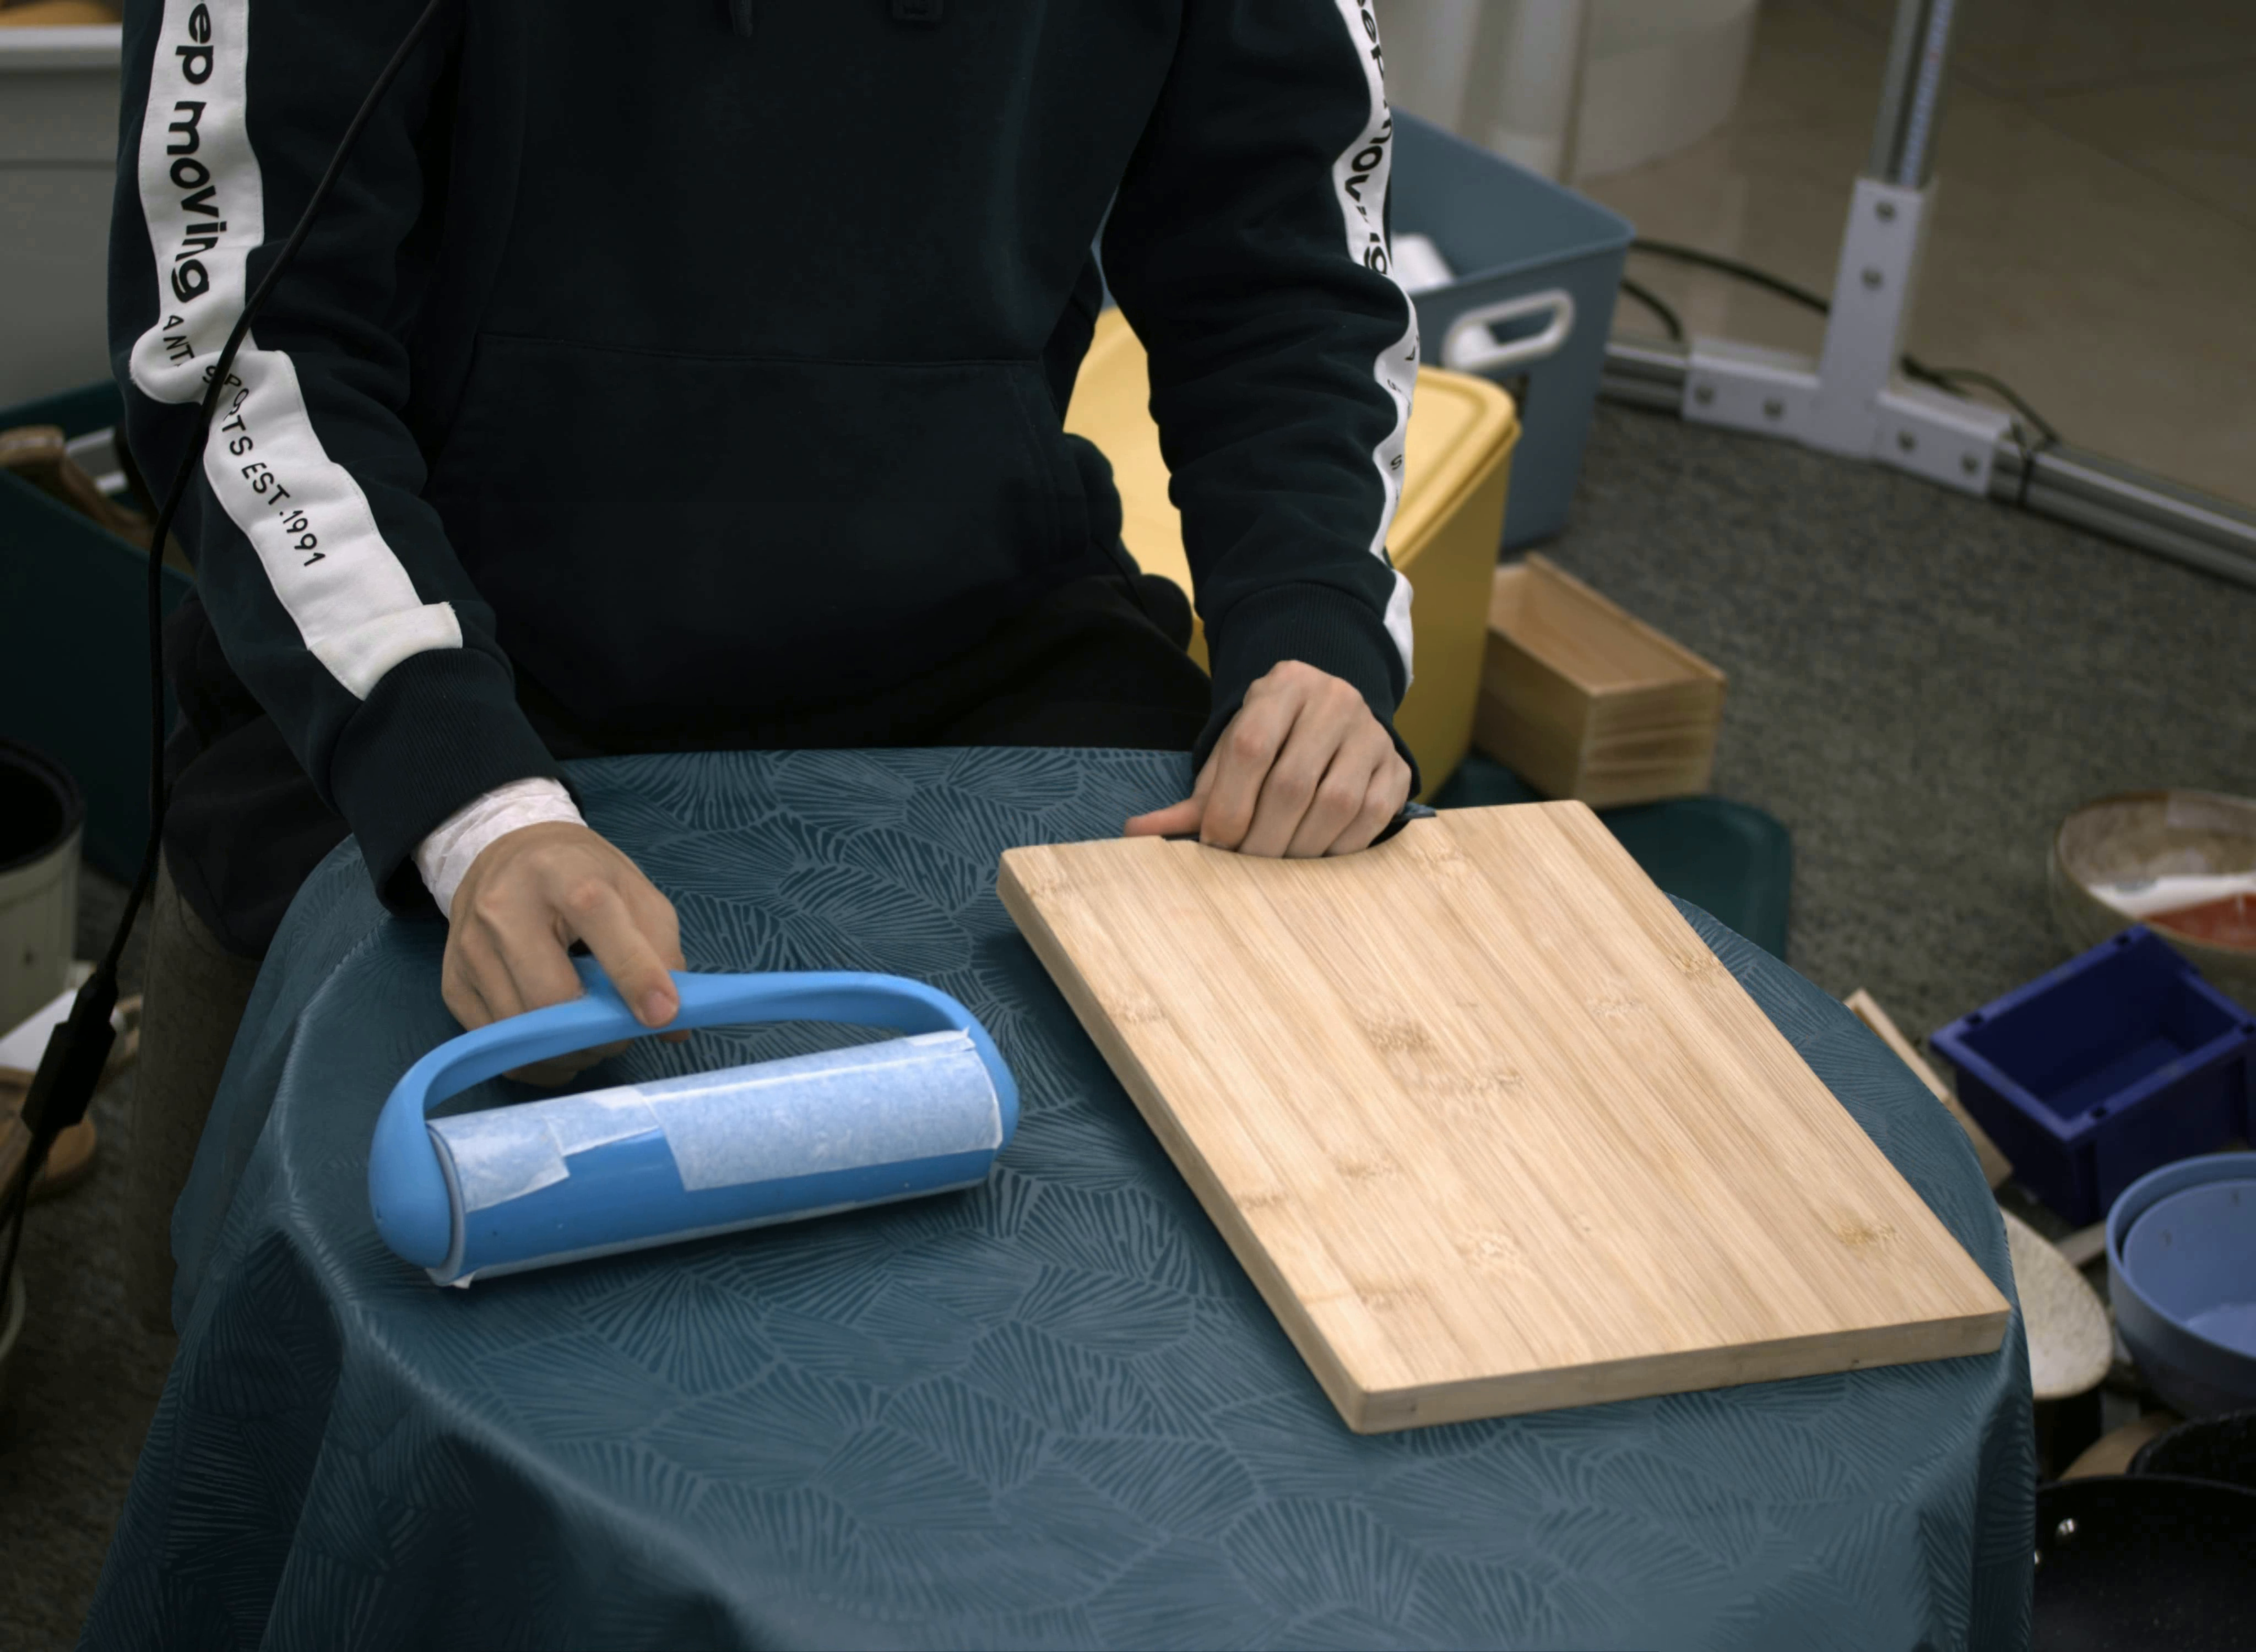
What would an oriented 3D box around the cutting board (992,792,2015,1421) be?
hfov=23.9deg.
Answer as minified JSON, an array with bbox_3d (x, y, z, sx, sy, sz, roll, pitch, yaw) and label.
[{"bbox_3d":[0.121,0.090,1.856,0.249,0.023,0.352,-5,32,-22],"label":"cutting board"}]

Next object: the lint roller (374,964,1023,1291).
[{"bbox_3d":[-0.168,0.081,1.782,0.227,0.067,0.182,-12,32,-29],"label":"lint roller"}]
